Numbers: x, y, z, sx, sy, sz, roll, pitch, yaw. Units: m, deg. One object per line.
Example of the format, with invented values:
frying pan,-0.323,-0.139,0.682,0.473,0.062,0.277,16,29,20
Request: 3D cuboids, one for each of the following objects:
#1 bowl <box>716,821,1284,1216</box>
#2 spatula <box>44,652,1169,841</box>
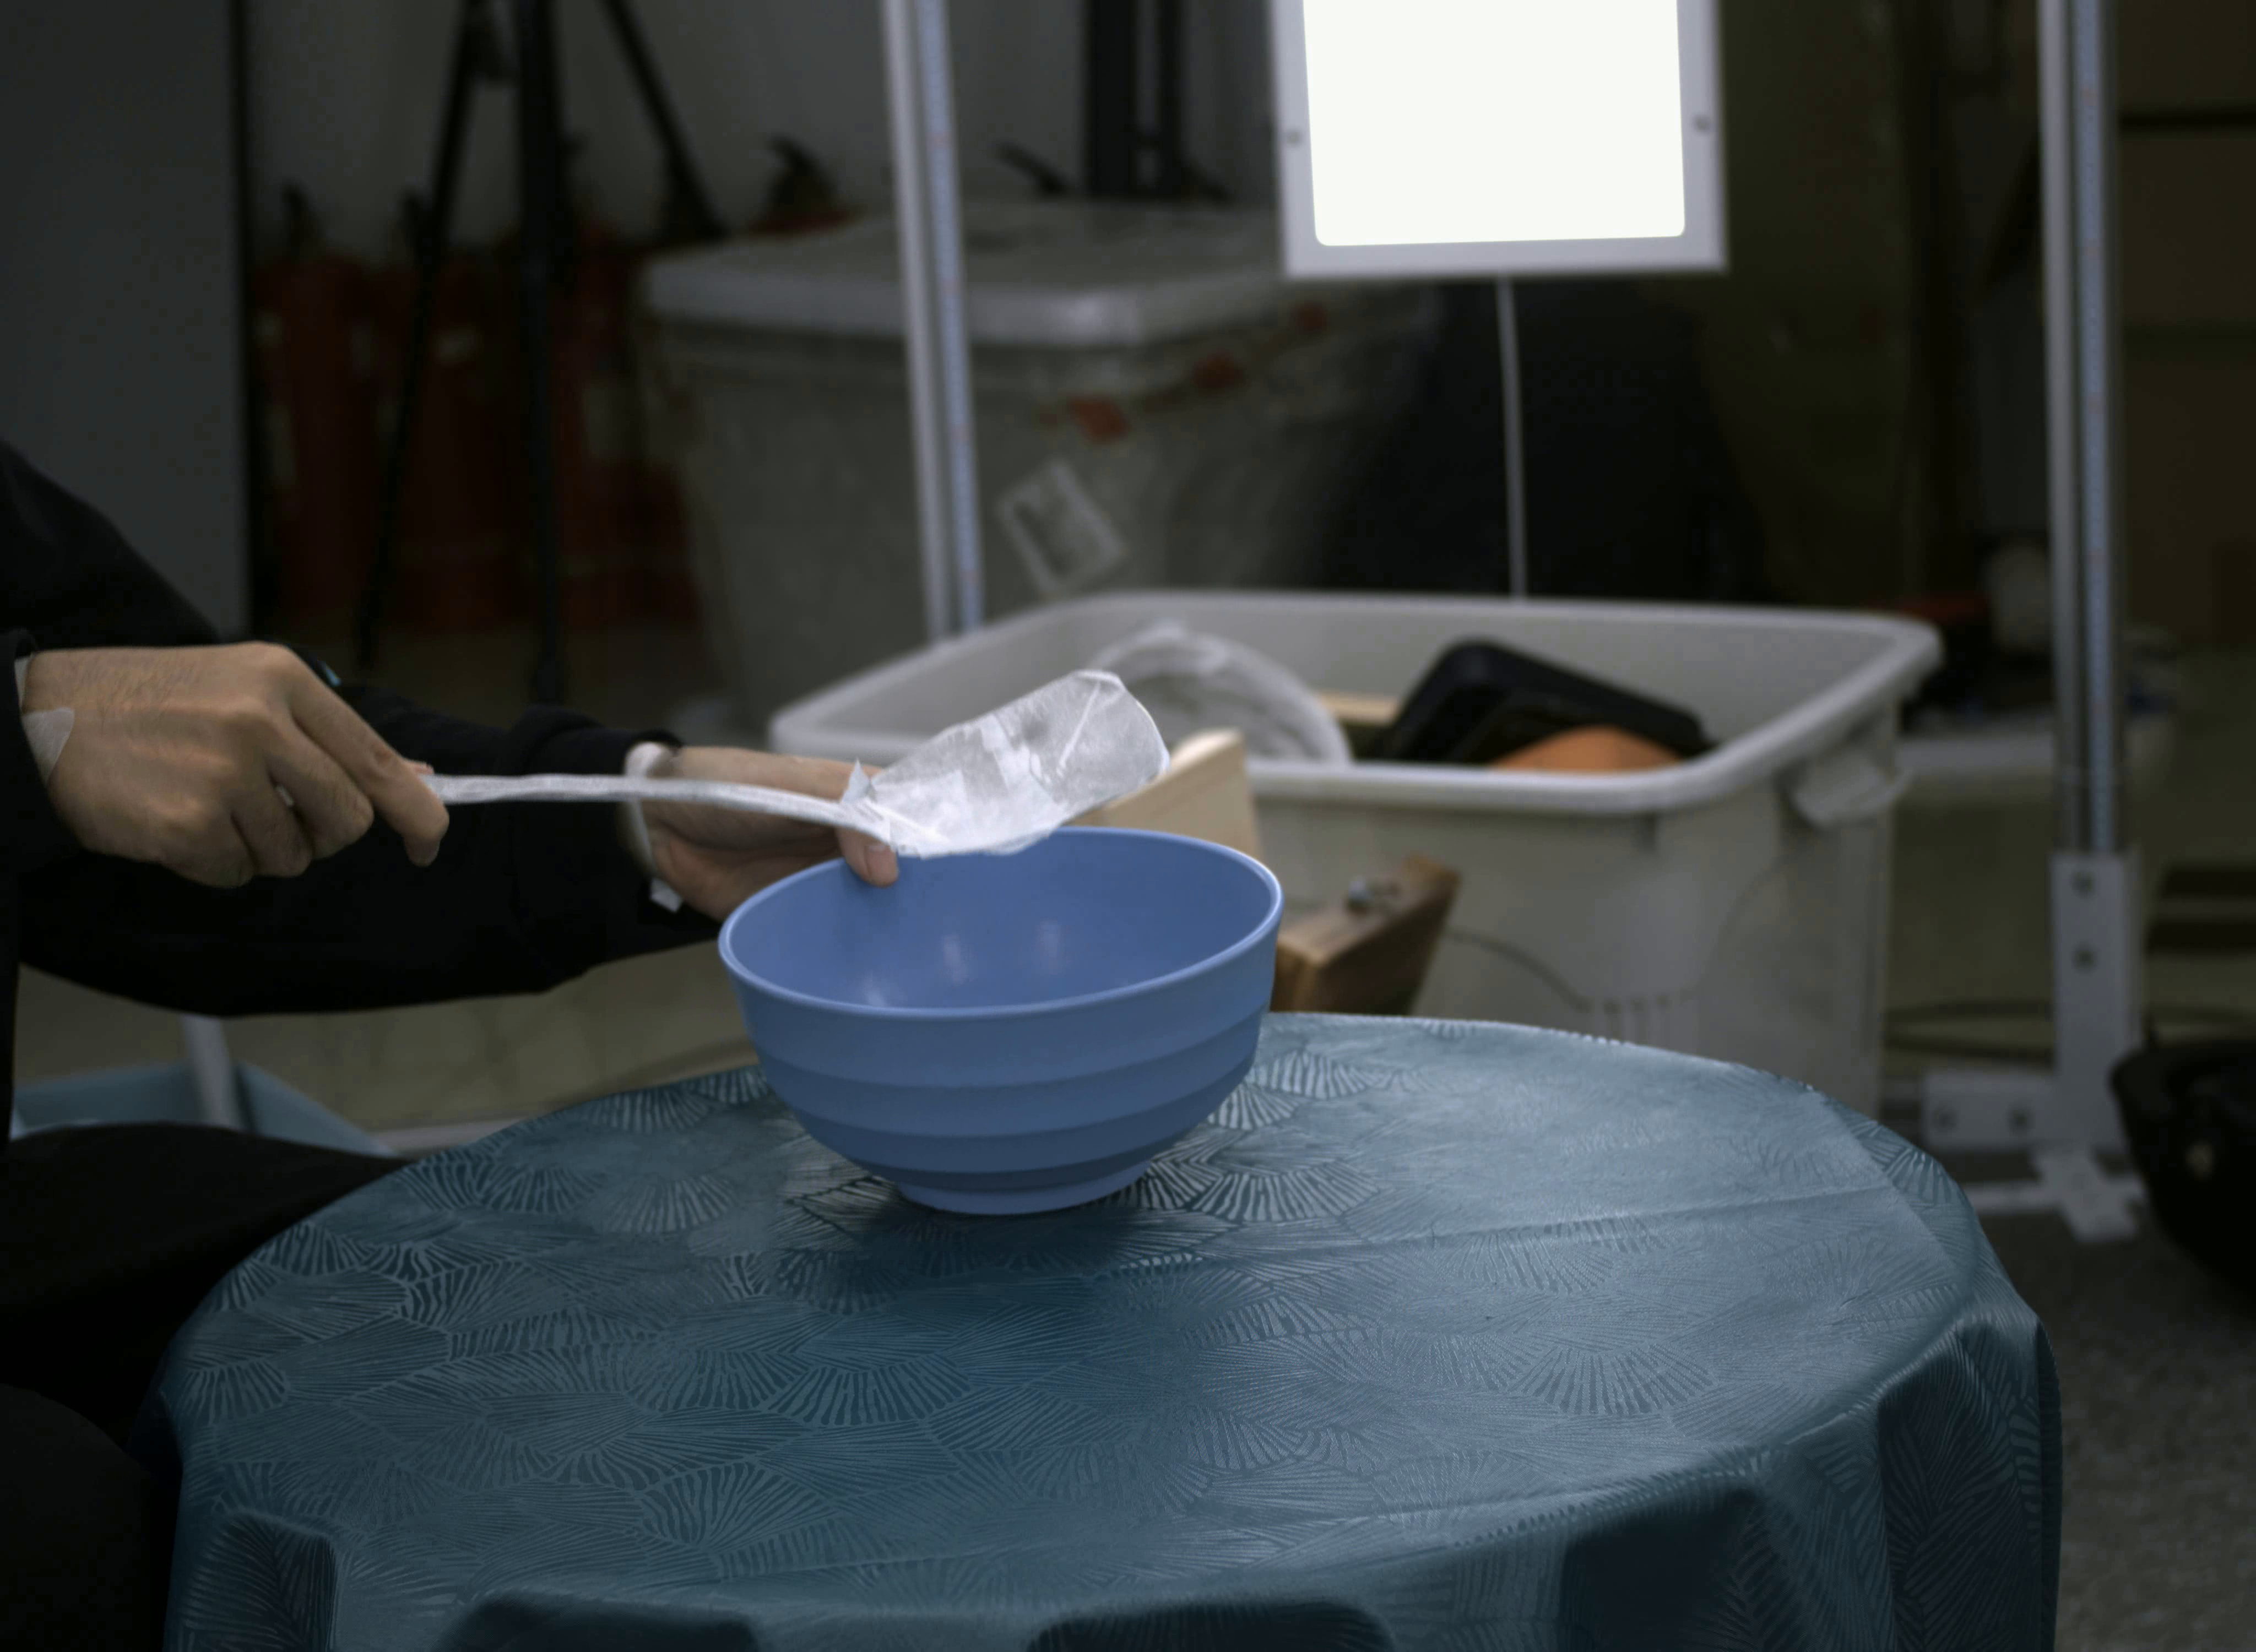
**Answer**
bowl,-0.041,0.074,1.907,0.196,0.096,0.196,-4,18,0
spatula,-0.167,-0.021,1.792,0.360,0.045,0.099,0,26,-11
